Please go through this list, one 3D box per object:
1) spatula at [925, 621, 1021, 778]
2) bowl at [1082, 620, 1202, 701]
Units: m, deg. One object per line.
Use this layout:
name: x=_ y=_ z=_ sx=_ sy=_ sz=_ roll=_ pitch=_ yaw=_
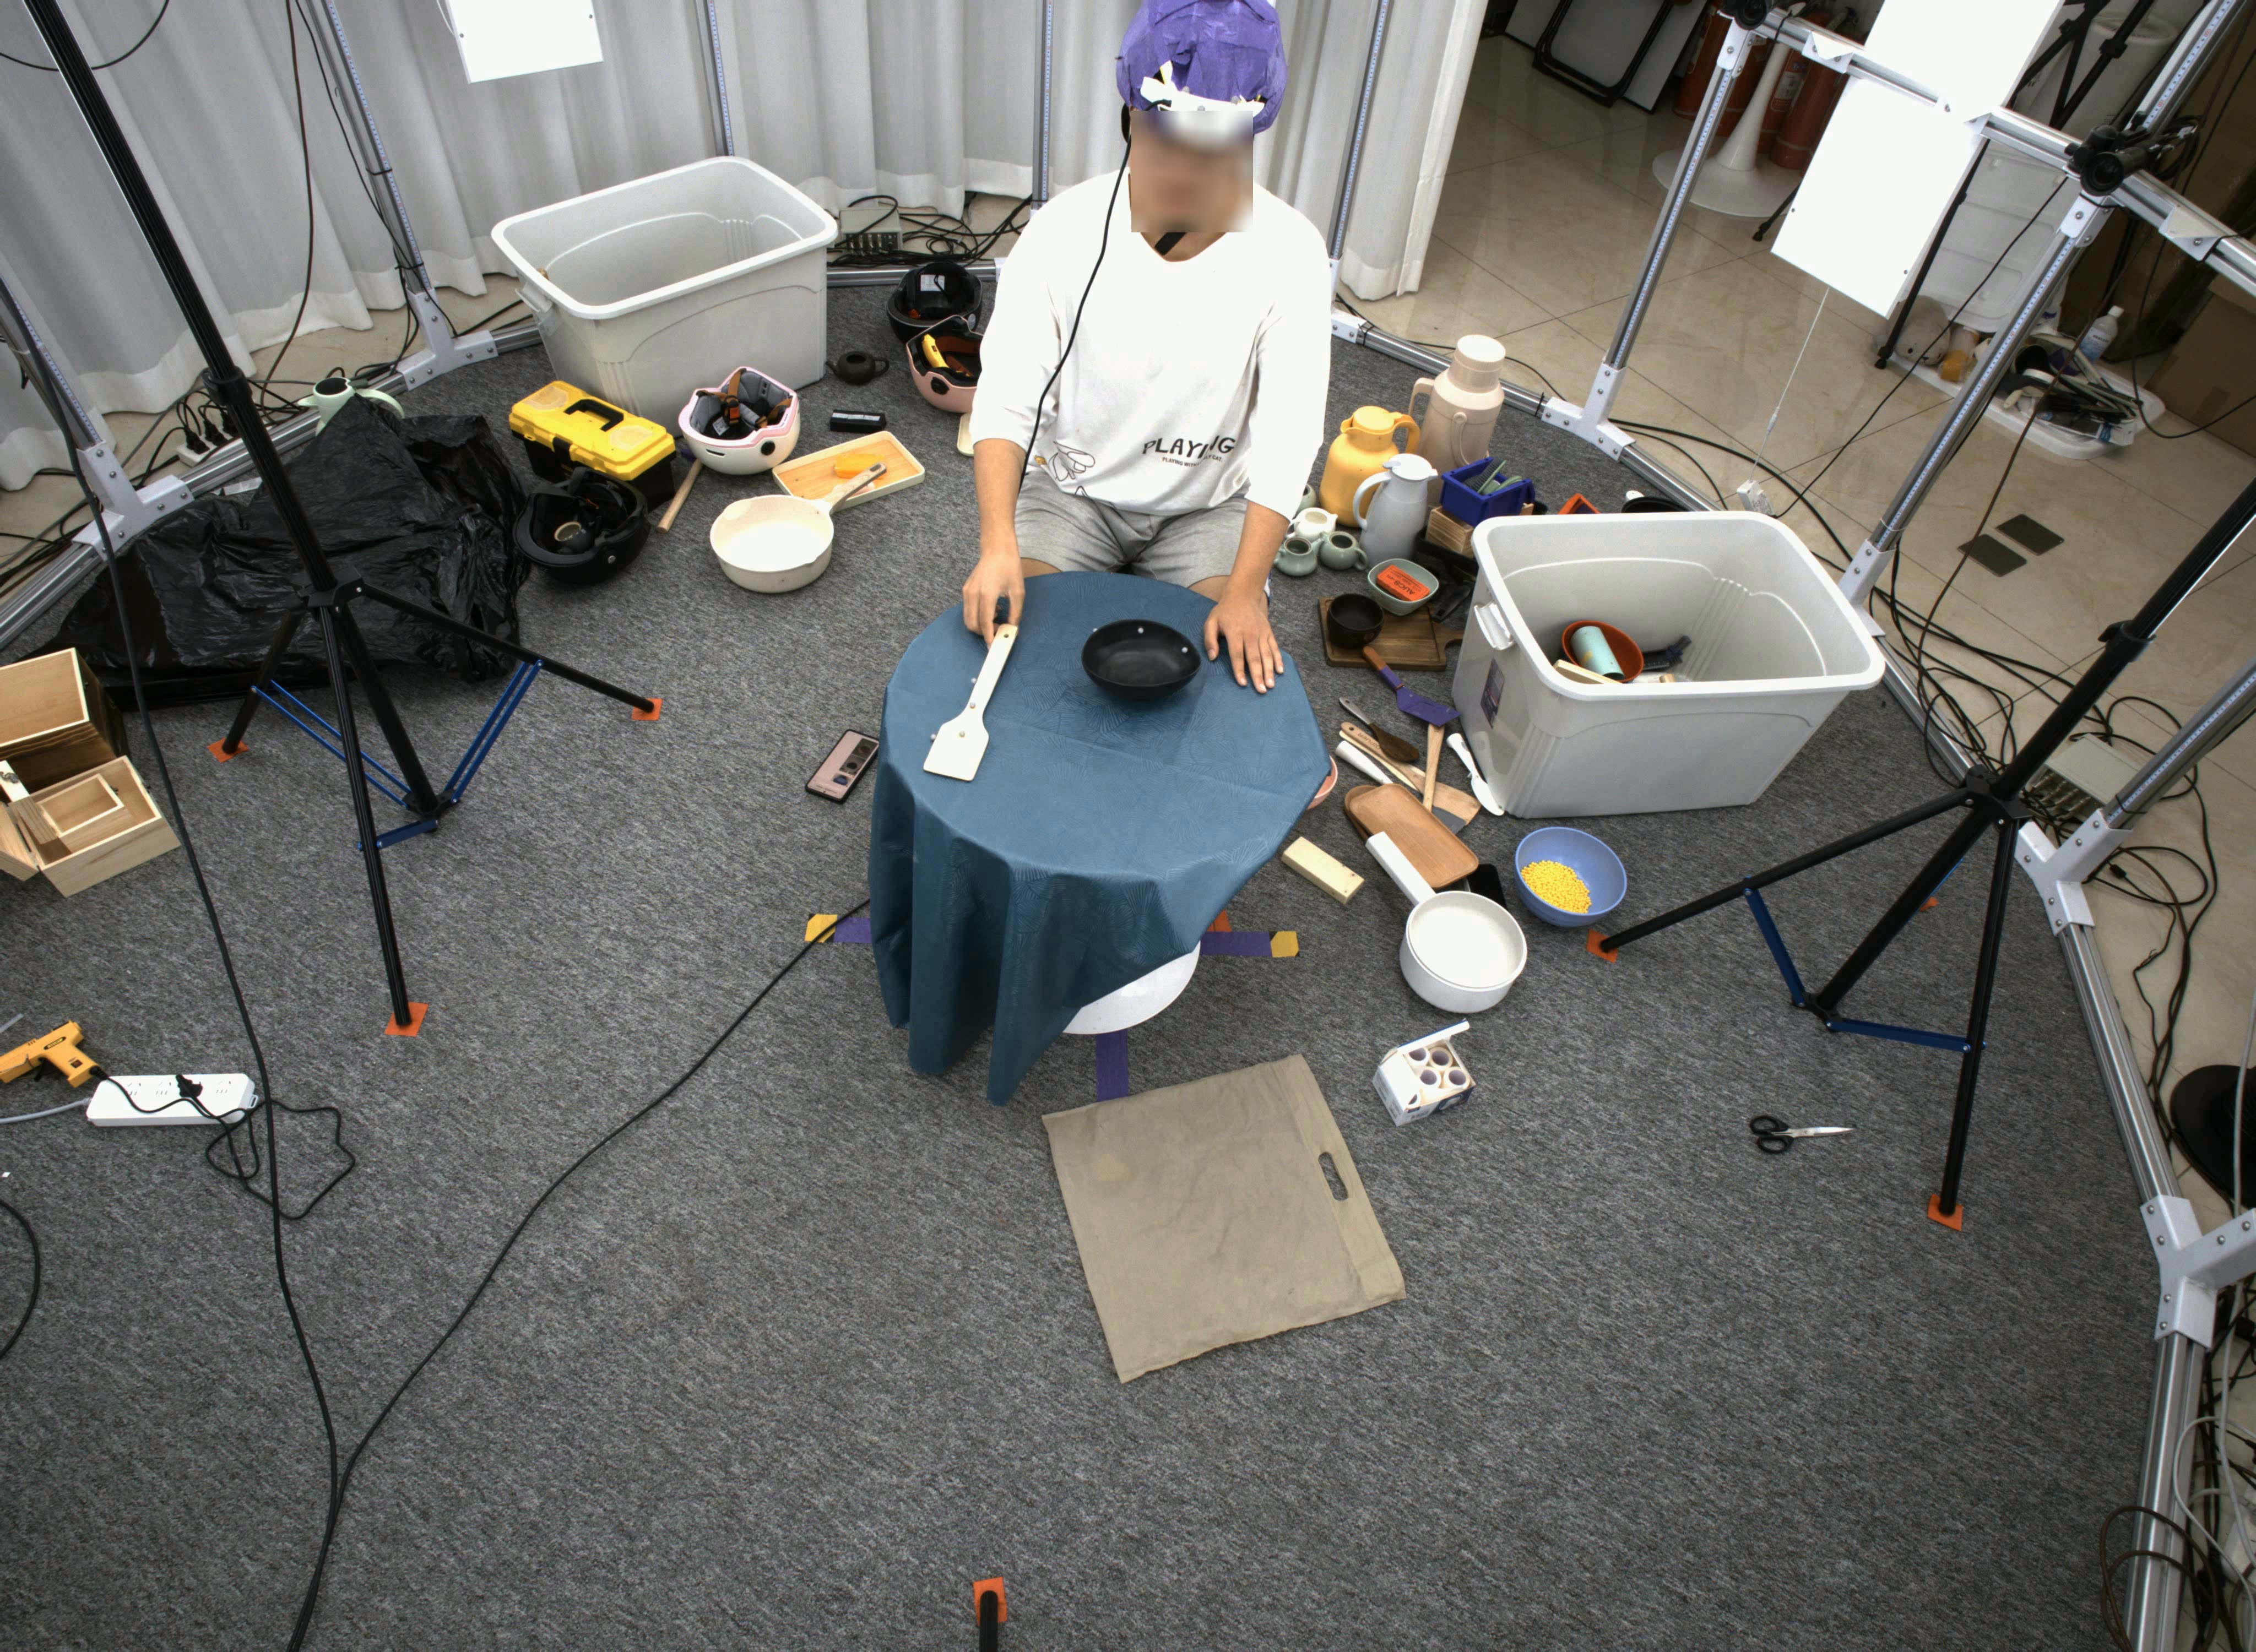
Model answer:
spatula: x=-0.204 y=-0.184 z=1.794 sx=0.072 sy=0.010 sz=0.299 roll=12 pitch=53 yaw=7
bowl: x=0.018 y=-0.225 z=1.820 sx=0.170 sy=0.065 sz=0.141 roll=-3 pitch=49 yaw=-10
